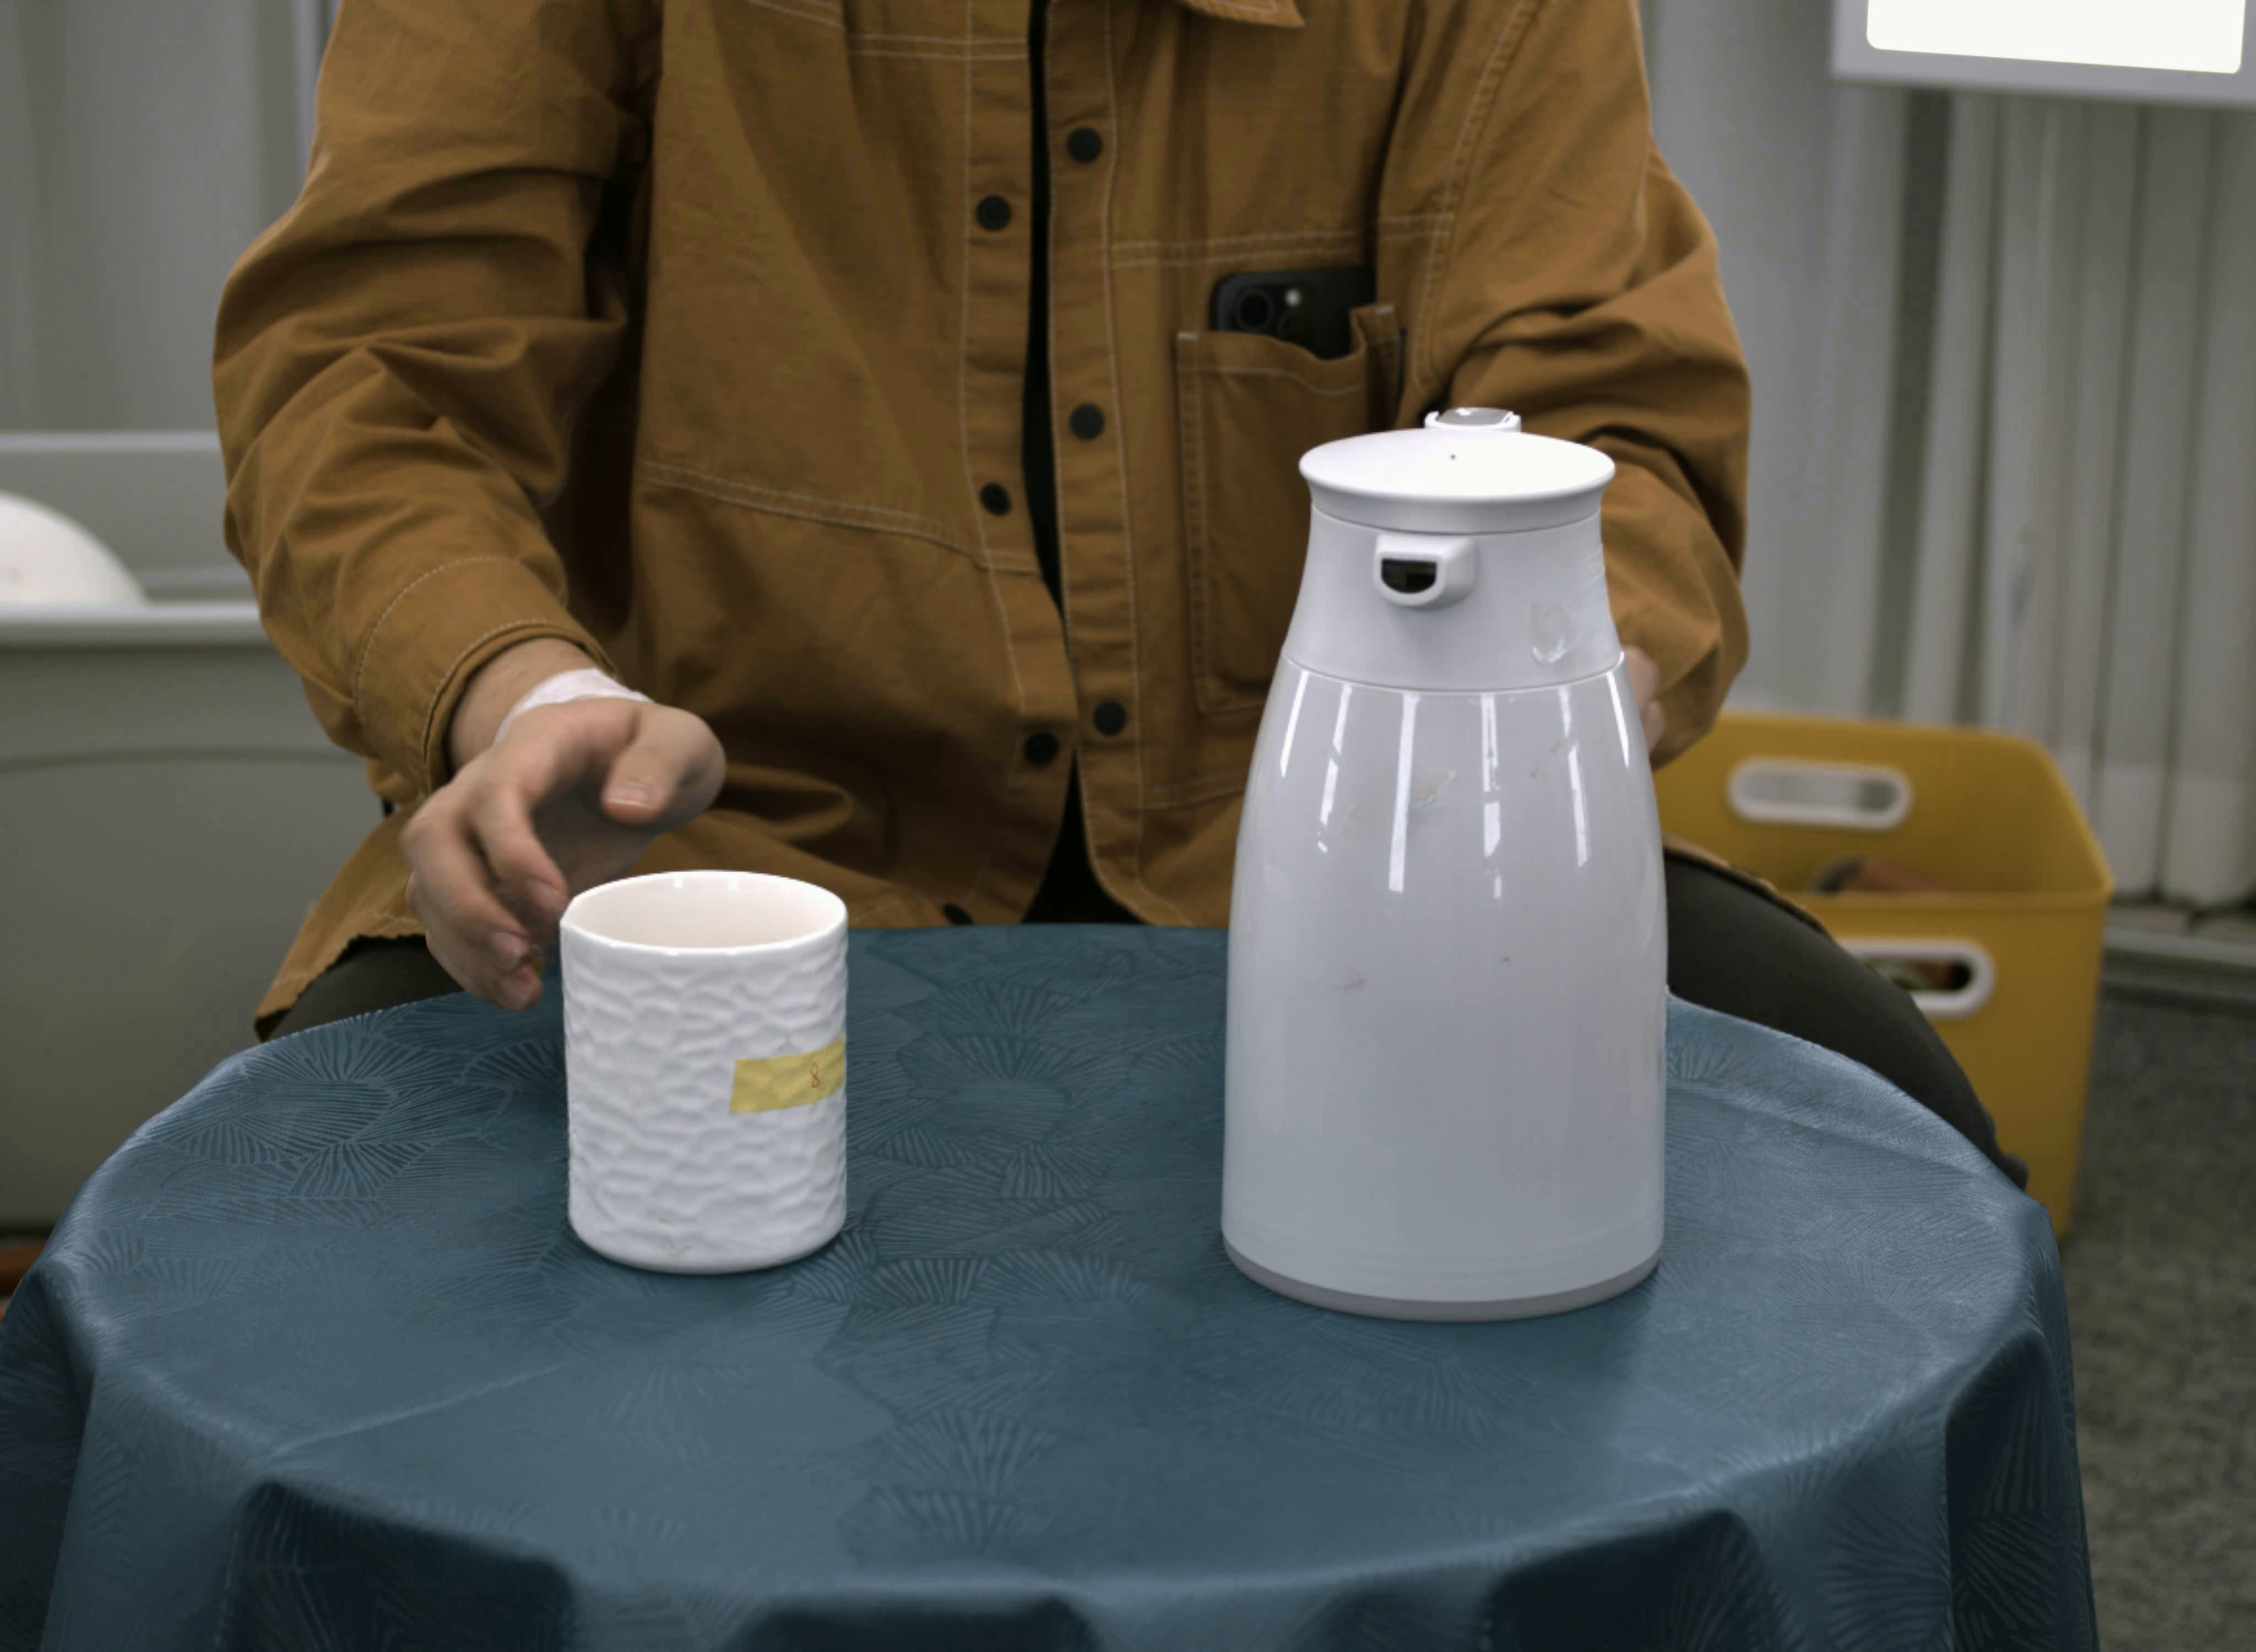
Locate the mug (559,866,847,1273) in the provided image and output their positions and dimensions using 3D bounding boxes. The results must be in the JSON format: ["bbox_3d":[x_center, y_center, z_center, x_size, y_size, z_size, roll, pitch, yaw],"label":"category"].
[{"bbox_3d":[-0.133,0.069,1.583,0.085,0.103,0.117,-8,18,-26],"label":"mug"}]

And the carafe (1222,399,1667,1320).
[{"bbox_3d":[0.097,0.001,1.560,0.131,0.250,0.167,3,16,13],"label":"carafe"}]
